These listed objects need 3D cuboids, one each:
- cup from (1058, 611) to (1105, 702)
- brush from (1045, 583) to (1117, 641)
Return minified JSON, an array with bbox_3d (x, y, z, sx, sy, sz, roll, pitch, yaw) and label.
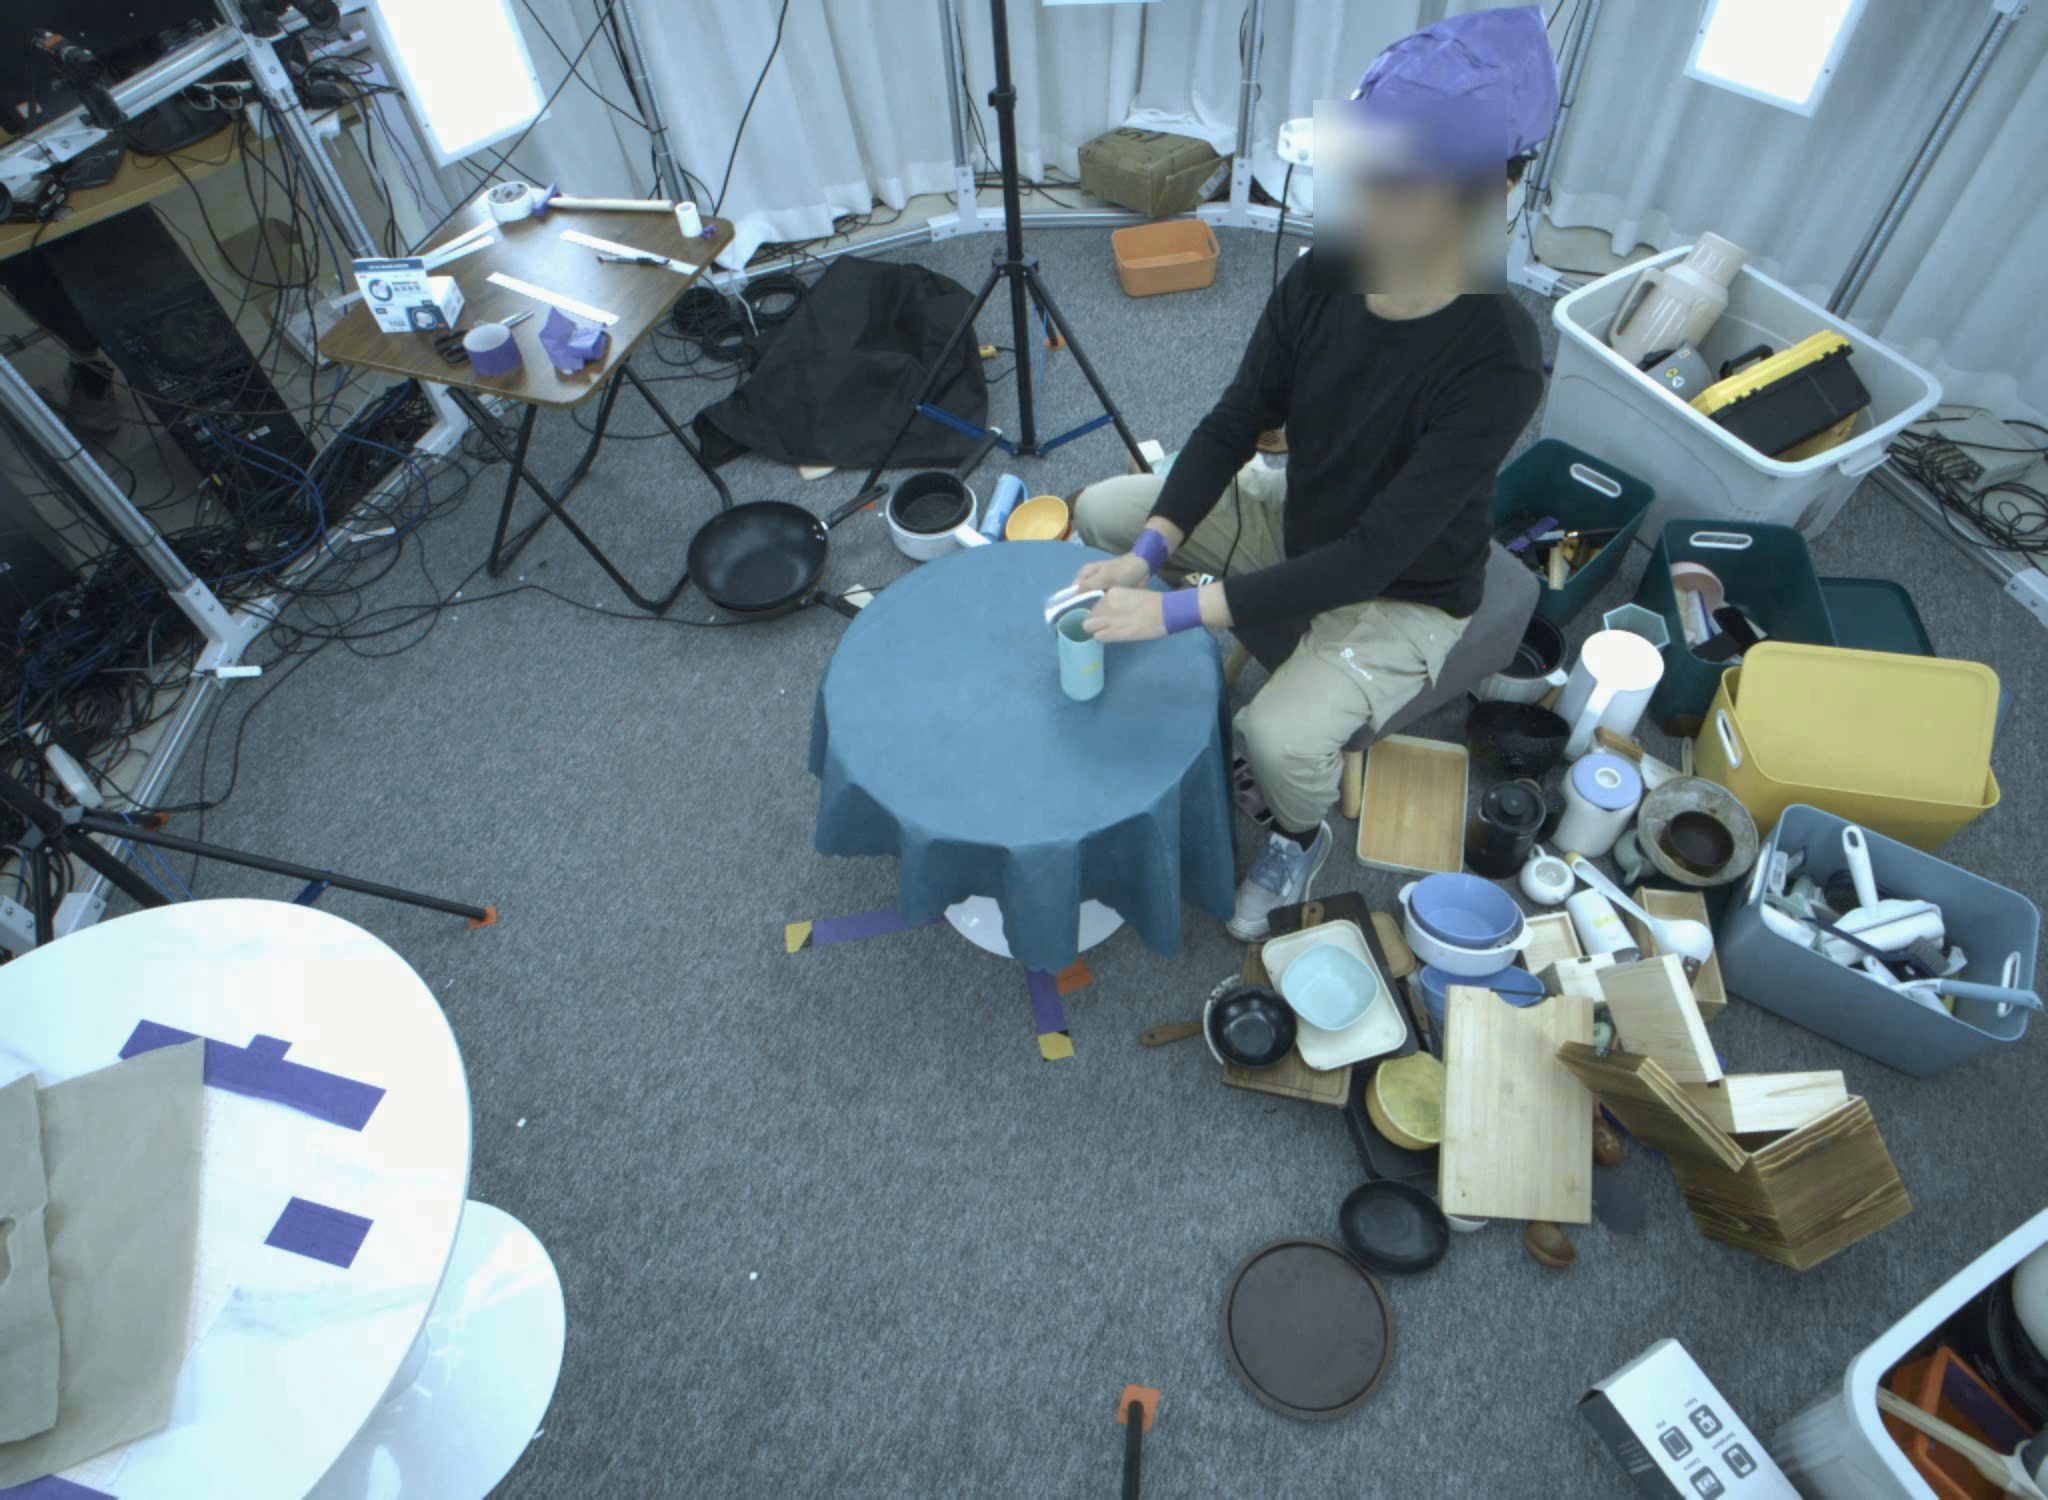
[{"bbox_3d":[0.085,-0.137,1.808,0.066,0.134,0.066,-2,54,4],"label":"cup"},{"bbox_3d":[0.078,-0.213,1.829,0.099,0.051,0.071,-26,57,-9],"label":"brush"}]
